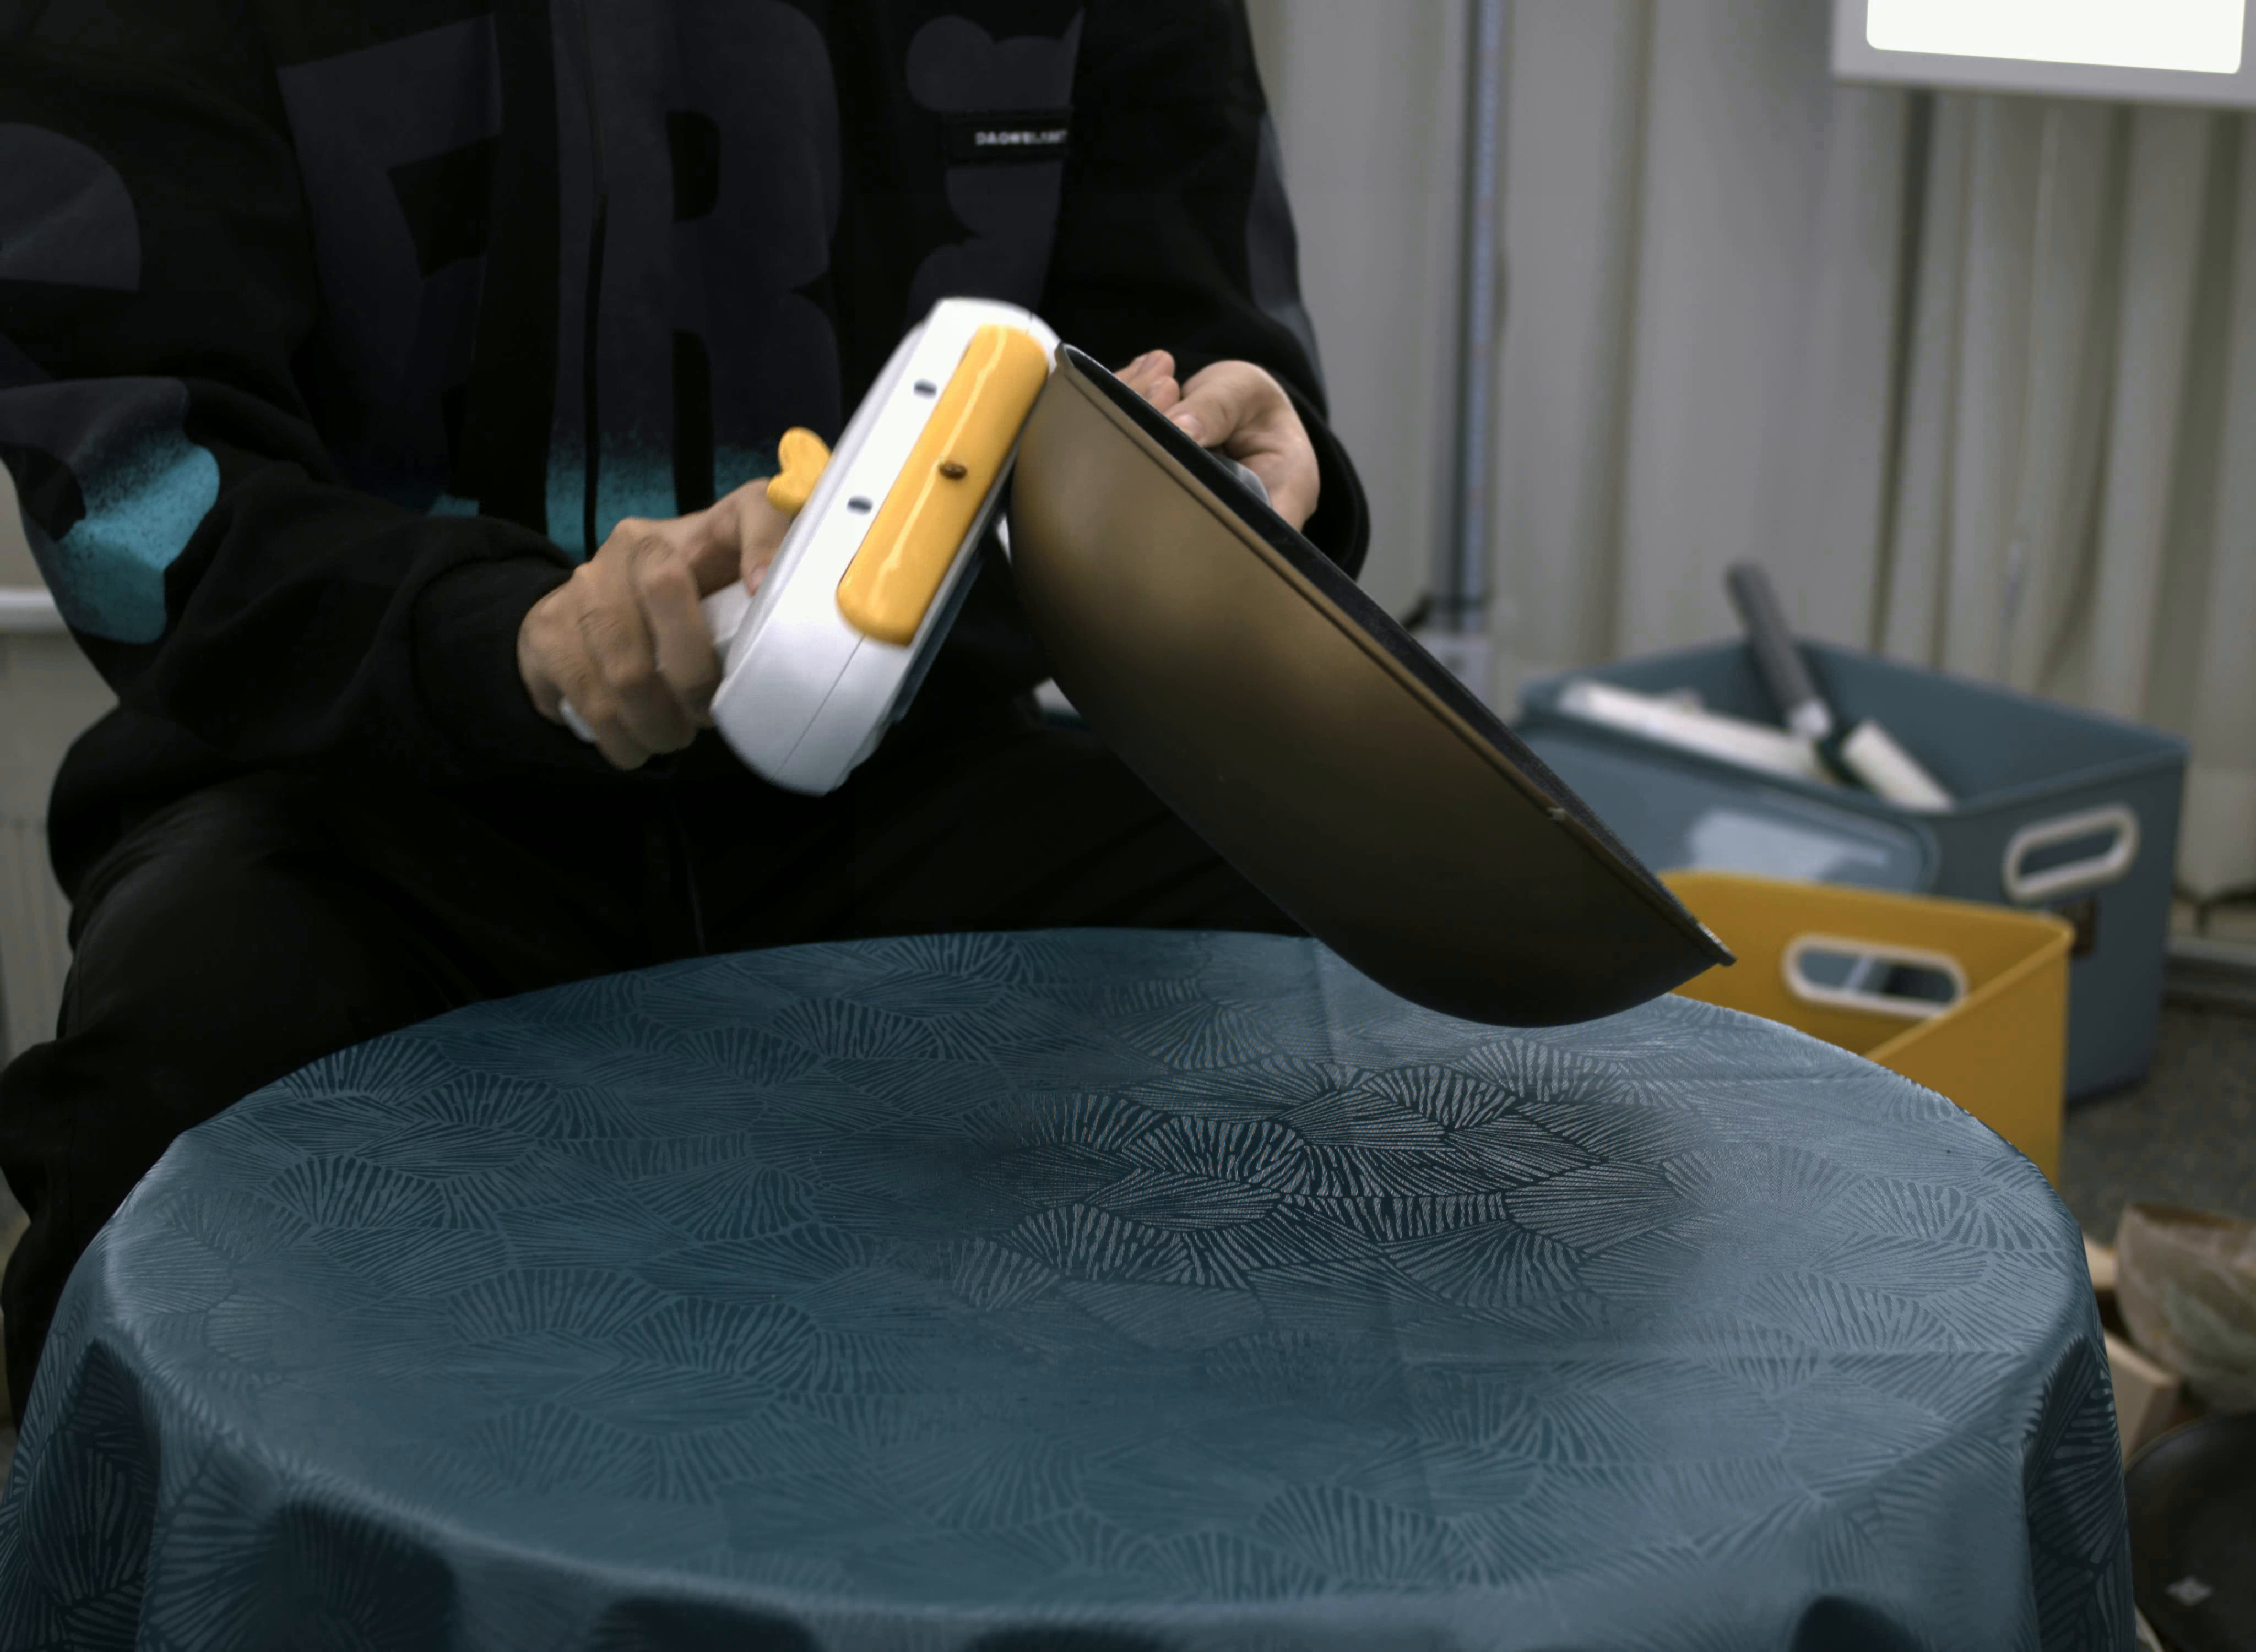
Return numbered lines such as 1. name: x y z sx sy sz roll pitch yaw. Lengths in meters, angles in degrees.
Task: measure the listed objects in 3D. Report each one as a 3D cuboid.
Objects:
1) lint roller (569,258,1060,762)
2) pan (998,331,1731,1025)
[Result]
1. lint roller: -0.107 -0.074 1.658 0.074 0.192 0.191 32 44 -16
2. pan: 0.034 -0.058 1.701 0.291 0.087 0.458 41 5 -24
